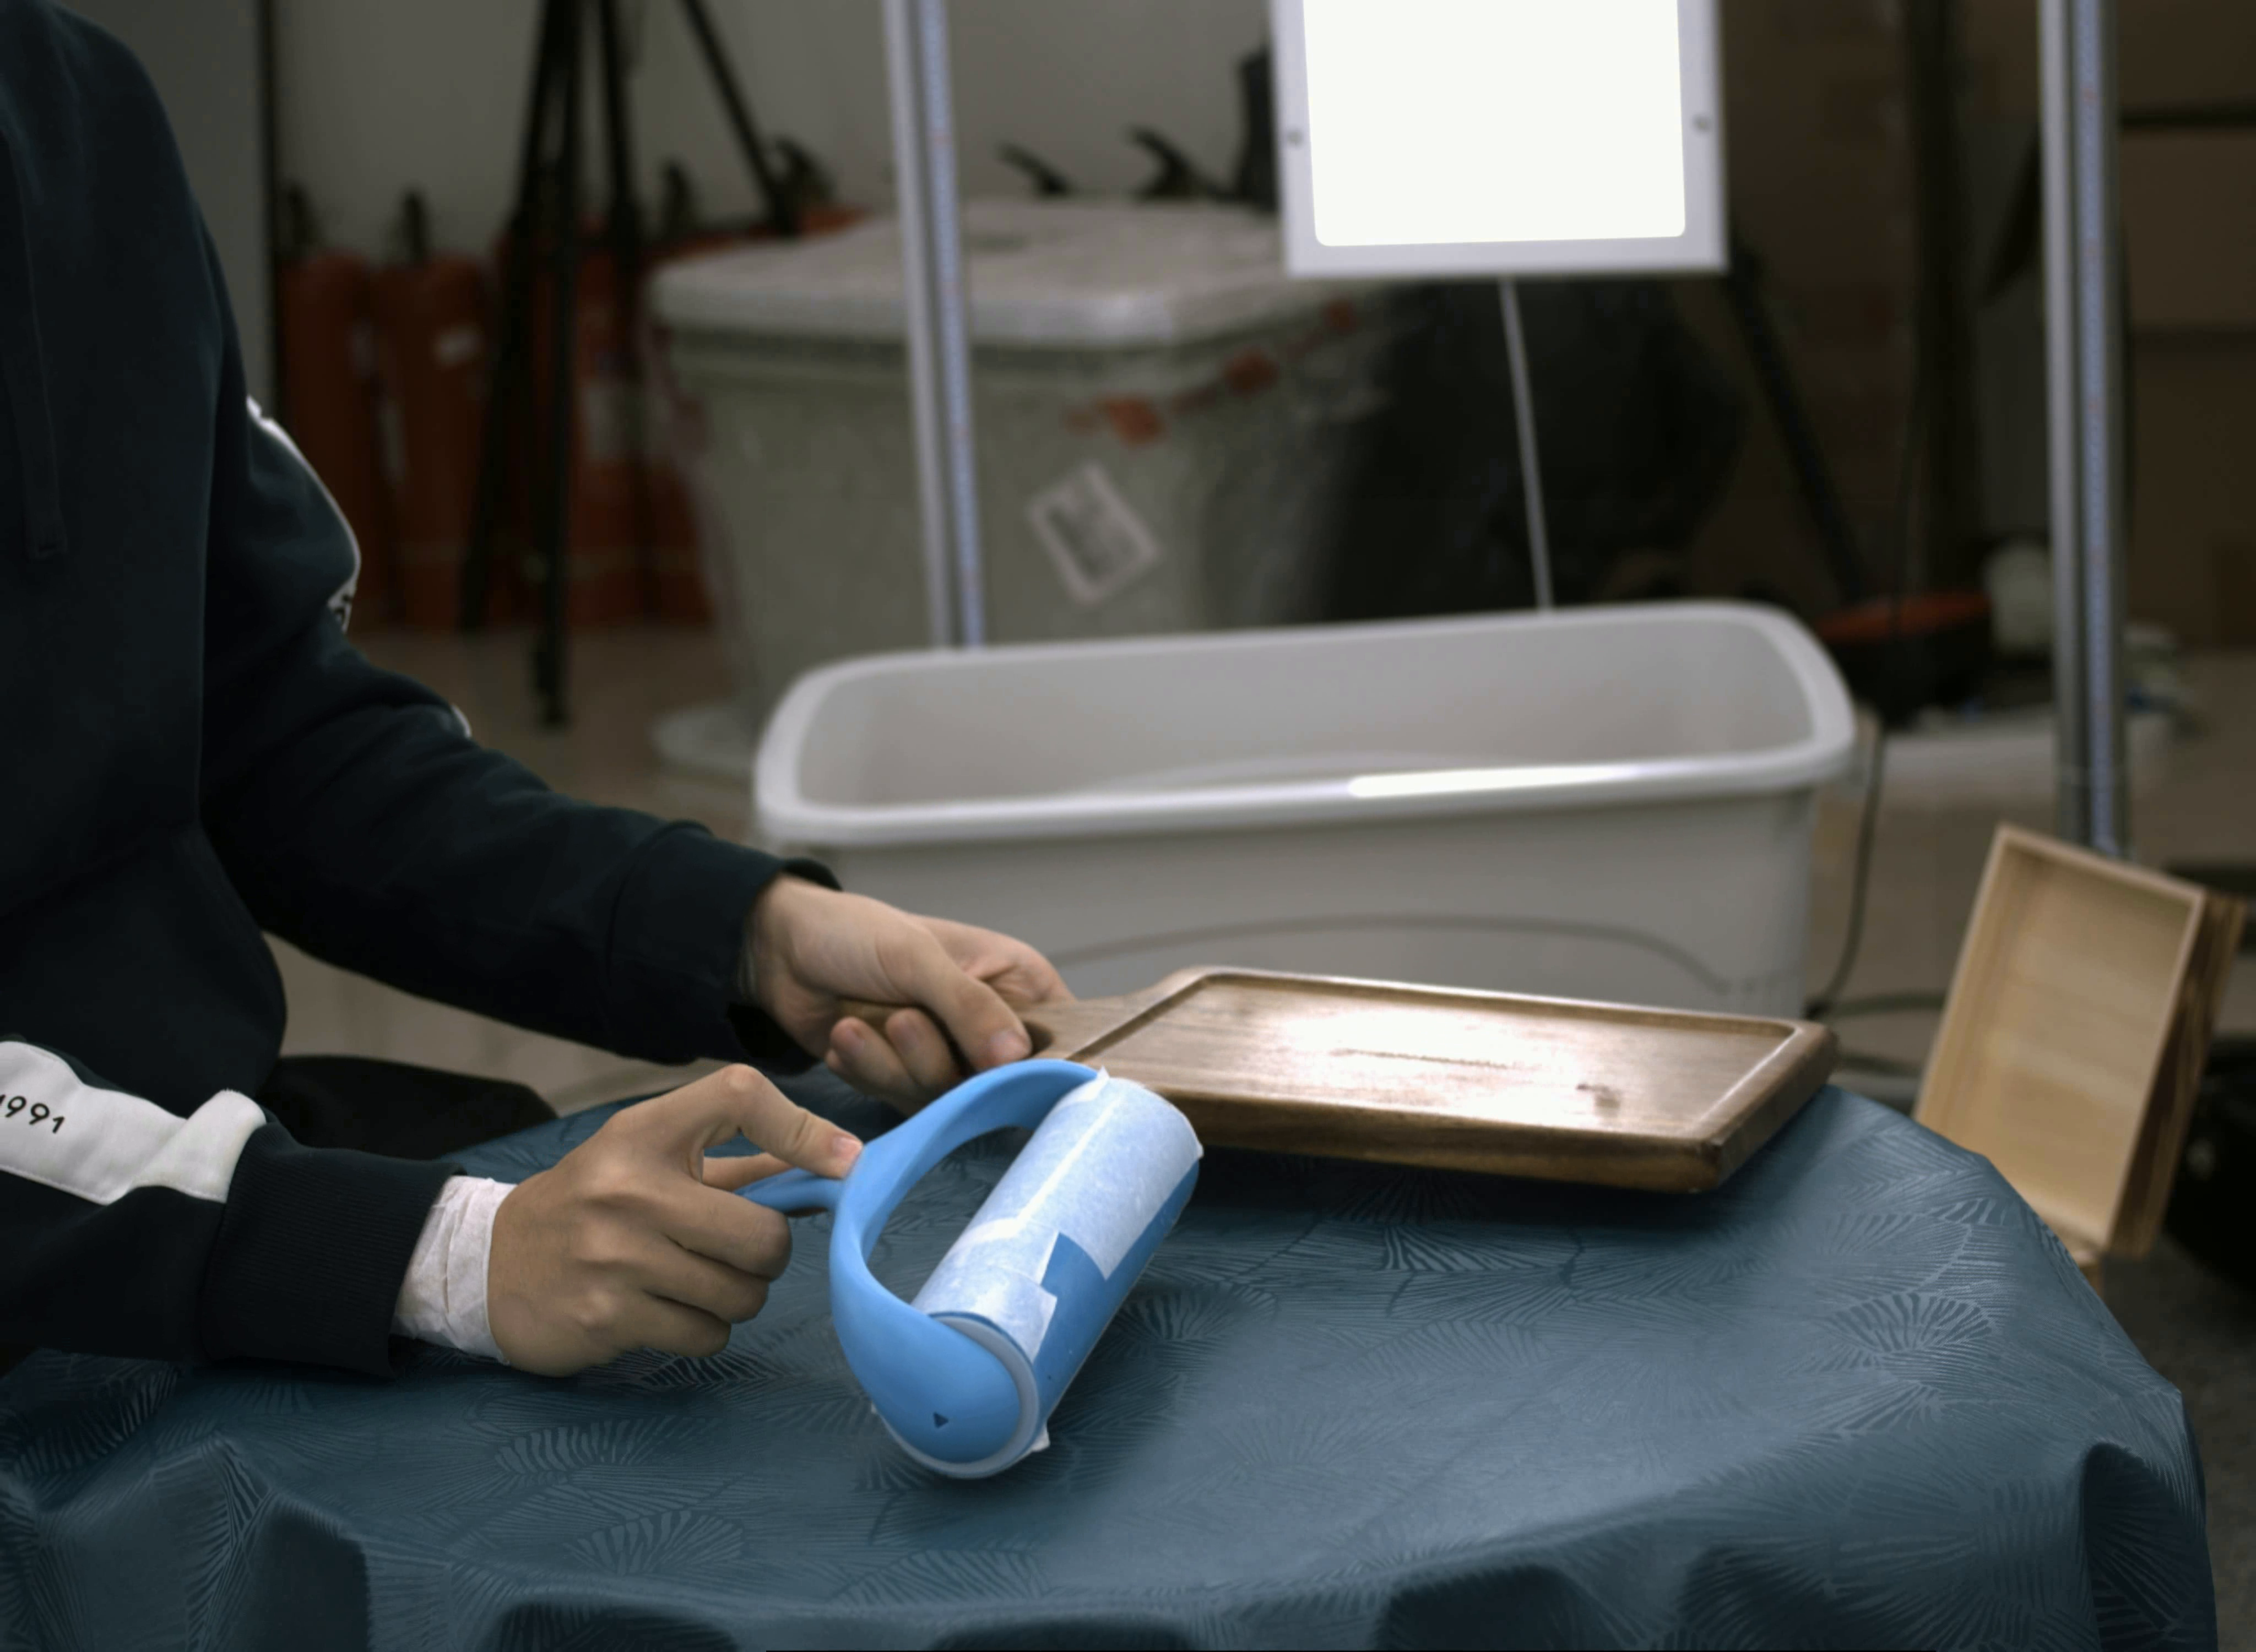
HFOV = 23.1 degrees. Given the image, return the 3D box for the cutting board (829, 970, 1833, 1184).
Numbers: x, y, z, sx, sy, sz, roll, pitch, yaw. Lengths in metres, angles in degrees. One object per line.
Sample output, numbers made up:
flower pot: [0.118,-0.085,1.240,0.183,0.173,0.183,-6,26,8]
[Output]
cutting board: [0.060,0.081,1.936,0.357,0.023,0.197,4,10,20]

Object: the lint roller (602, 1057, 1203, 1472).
lint roller: [-0.082,0.135,1.721,0.182,0.068,0.226,-1,20,14]
